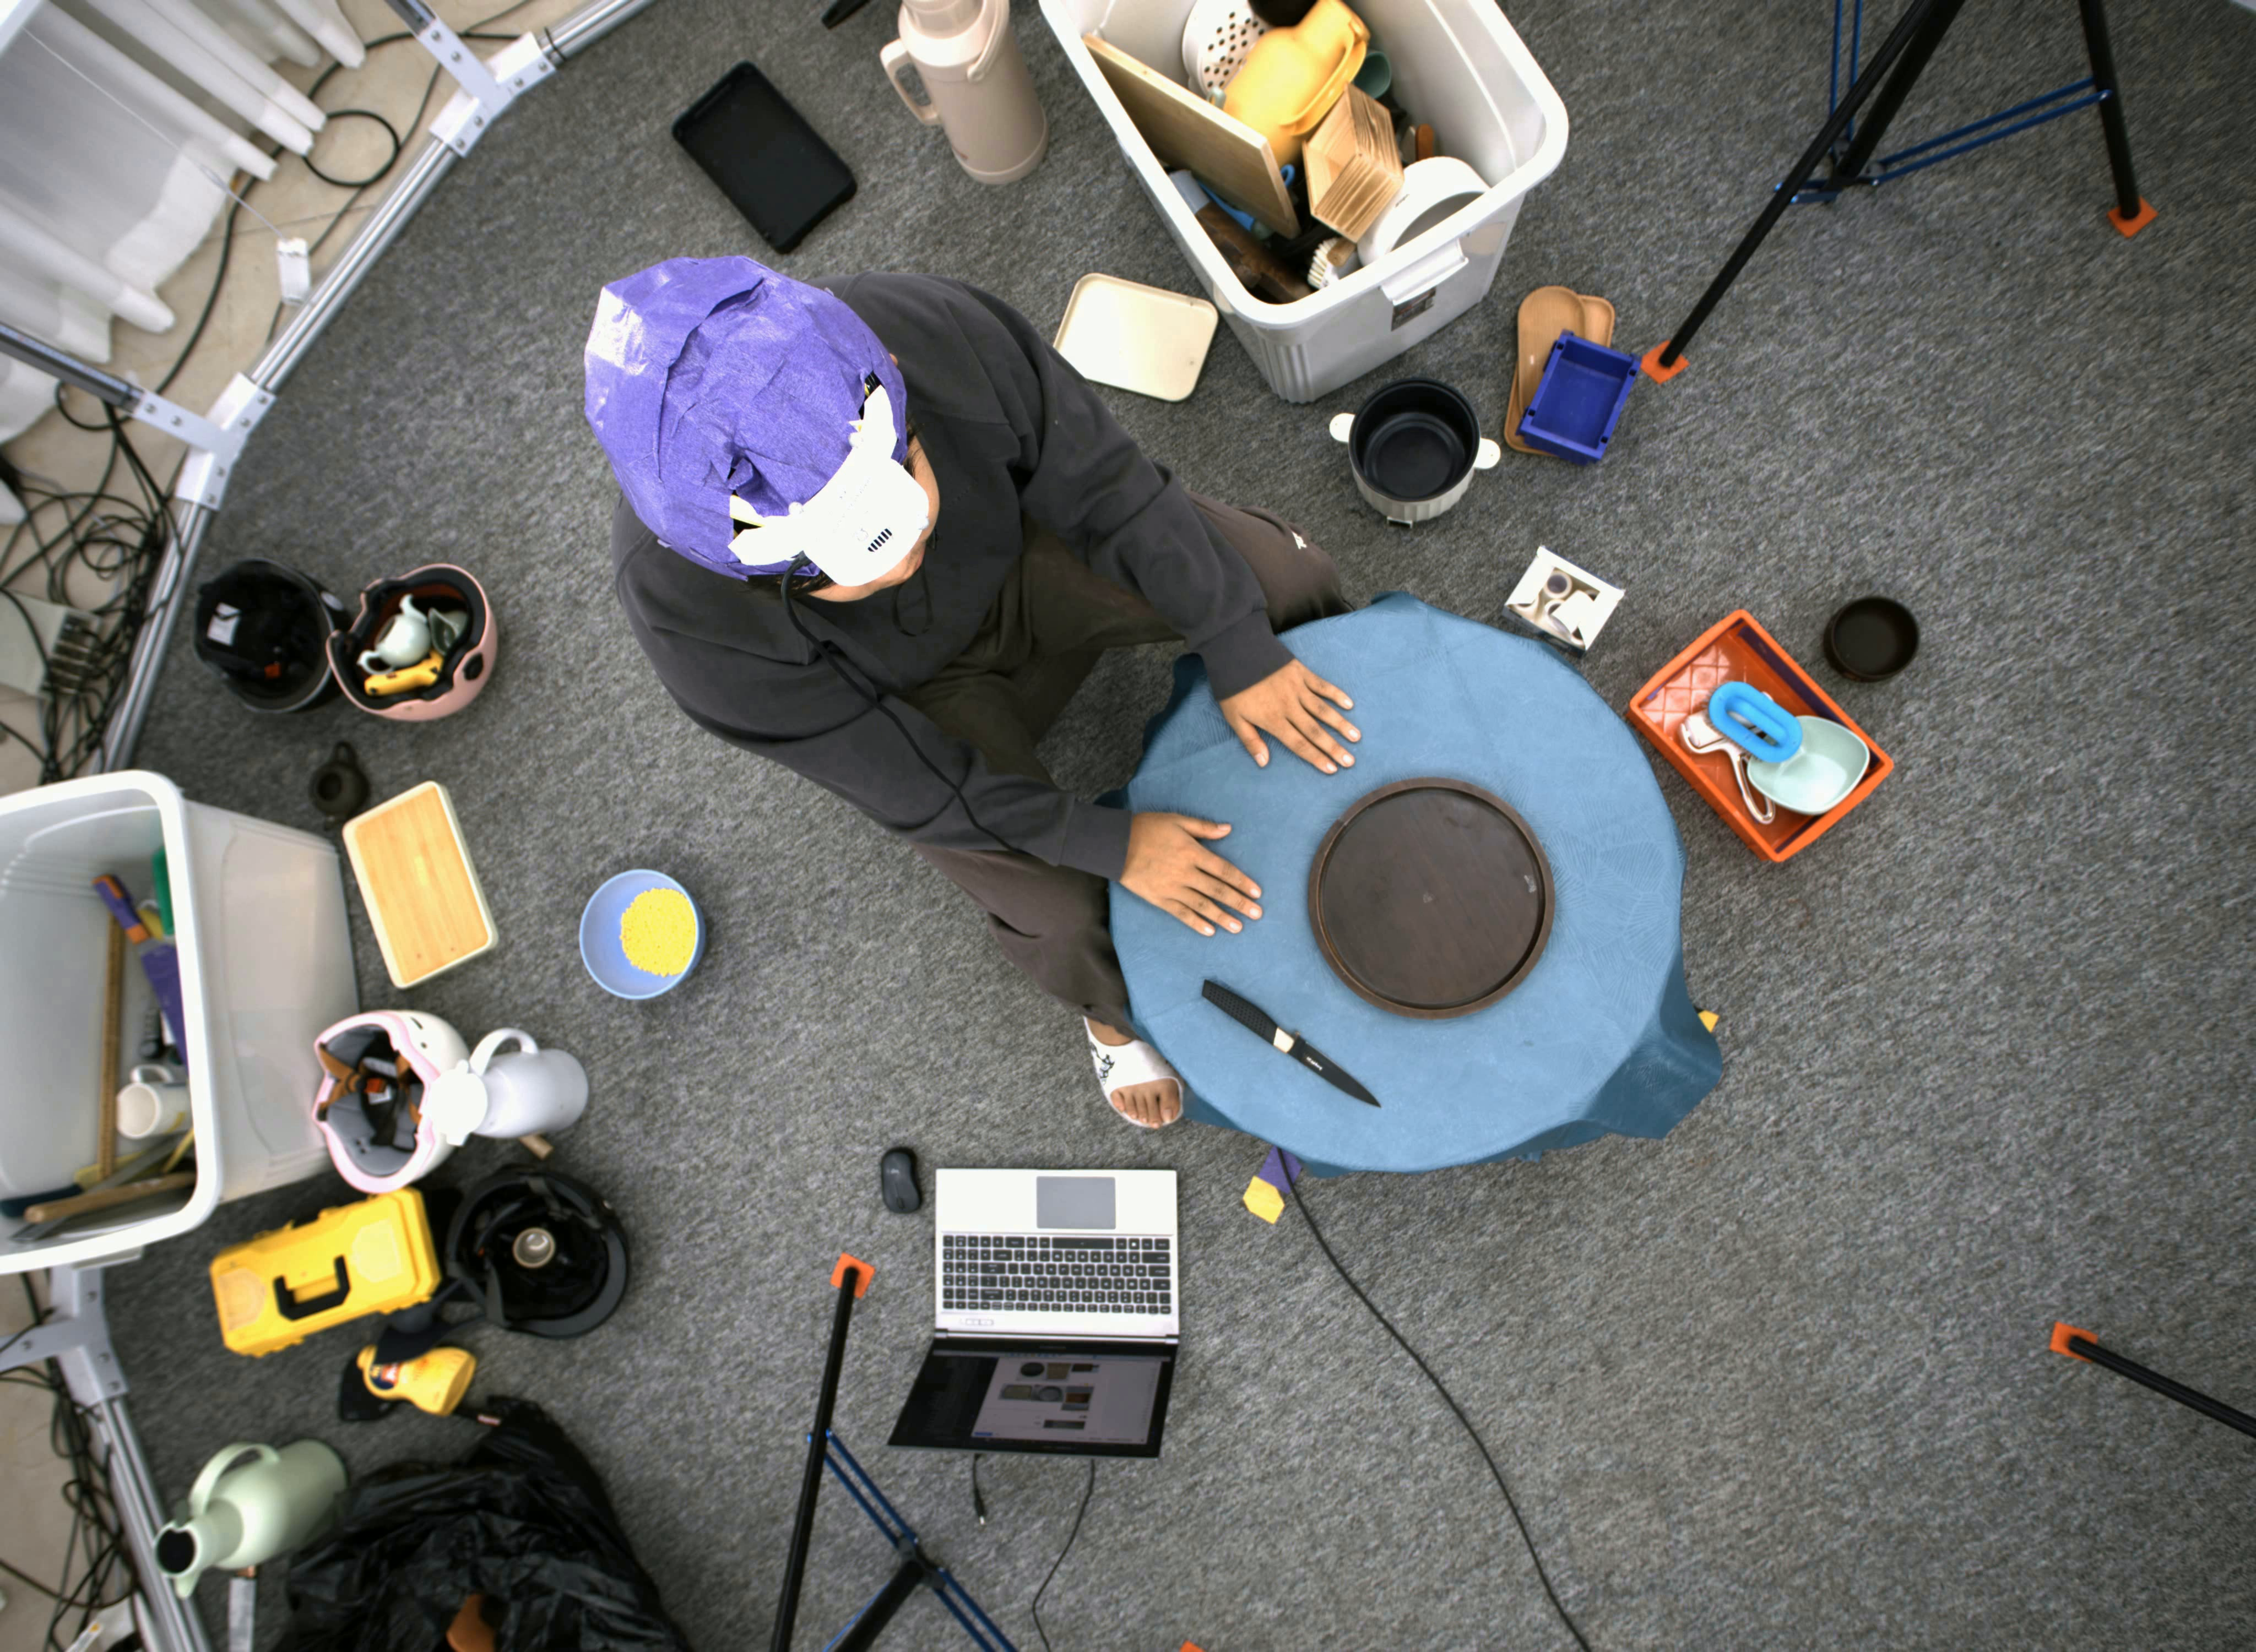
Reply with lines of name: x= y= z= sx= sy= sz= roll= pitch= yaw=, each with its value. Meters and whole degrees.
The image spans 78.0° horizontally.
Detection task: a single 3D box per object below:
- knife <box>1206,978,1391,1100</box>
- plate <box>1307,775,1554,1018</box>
knife: x=0.179 y=0.227 z=1.464 sx=0.225 sy=0.017 sz=0.026 roll=34 pitch=87 yaw=10
plate: x=0.314 y=0.072 z=1.441 sx=0.256 sy=0.029 sz=0.254 roll=-1 pitch=87 yaw=12
